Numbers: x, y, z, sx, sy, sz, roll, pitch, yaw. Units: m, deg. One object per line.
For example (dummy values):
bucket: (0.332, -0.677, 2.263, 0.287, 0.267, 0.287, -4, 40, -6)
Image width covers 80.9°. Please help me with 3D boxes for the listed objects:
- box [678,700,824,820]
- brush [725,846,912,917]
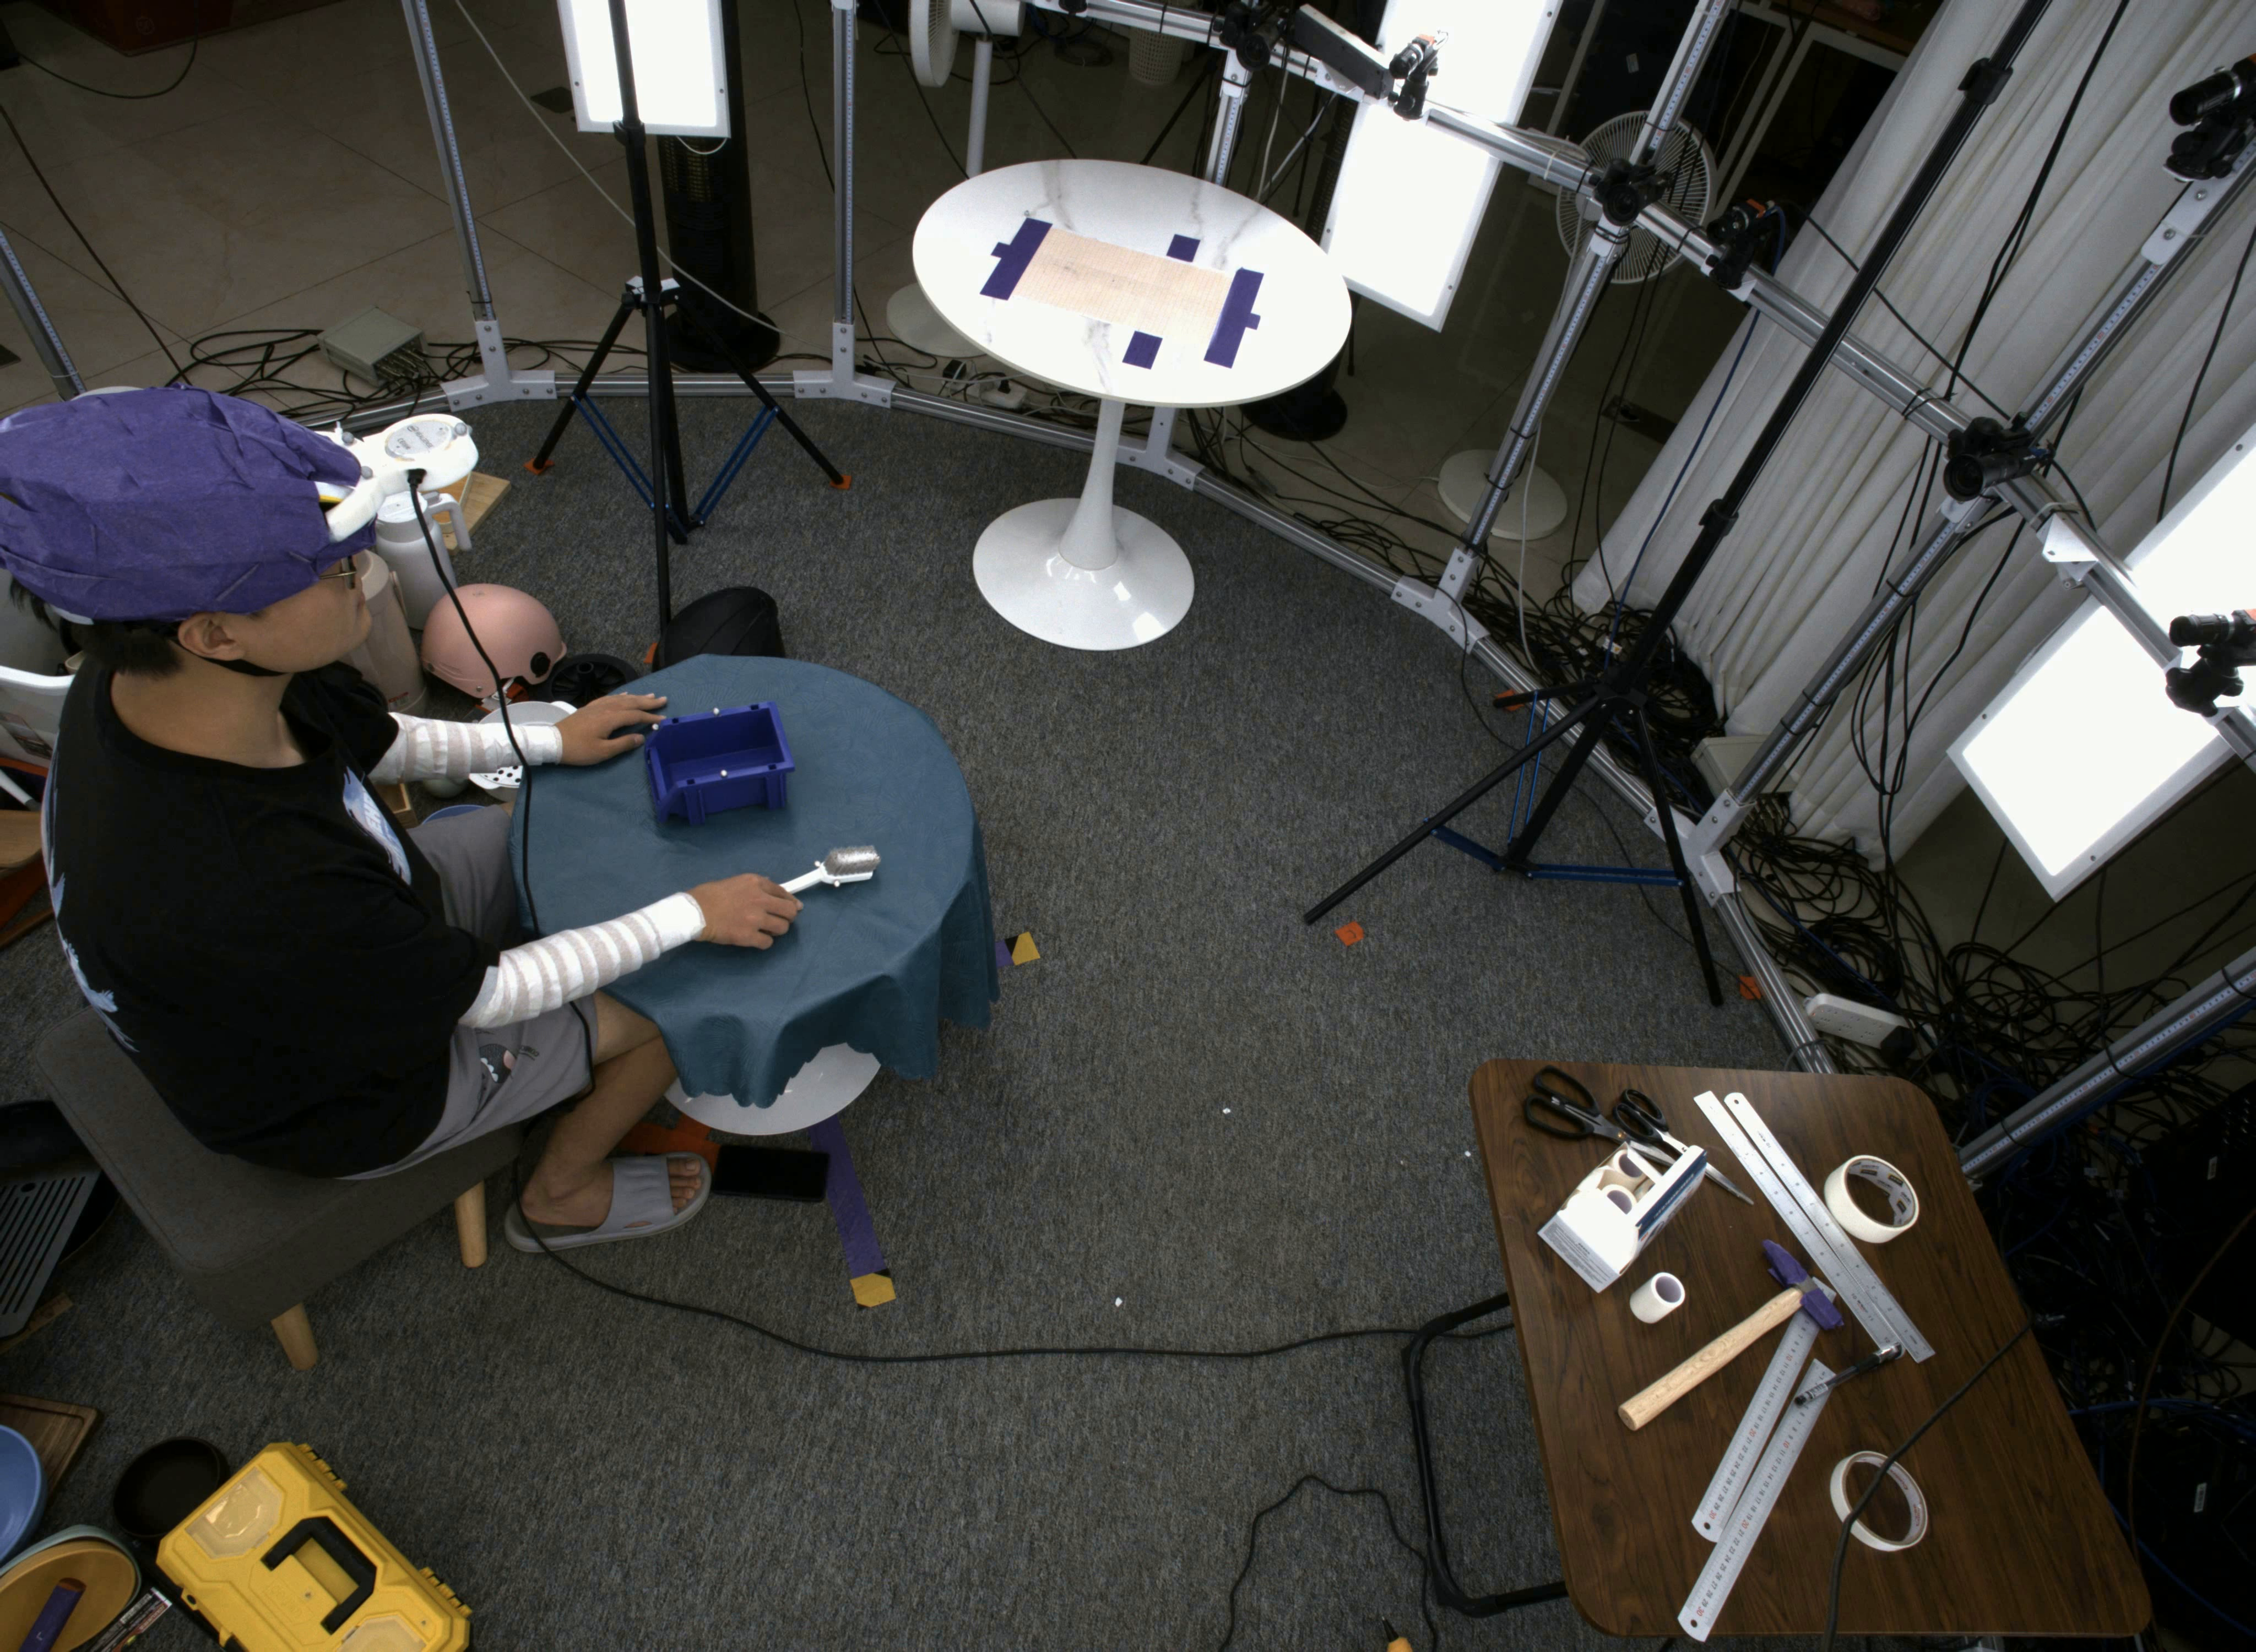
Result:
box: (-0.506, -0.086, 1.726, 0.180, 0.083, 0.121, -8, 56, -21)
brush: (-0.396, 0.067, 1.660, 0.245, 0.051, 0.033, -13, 56, -23)
